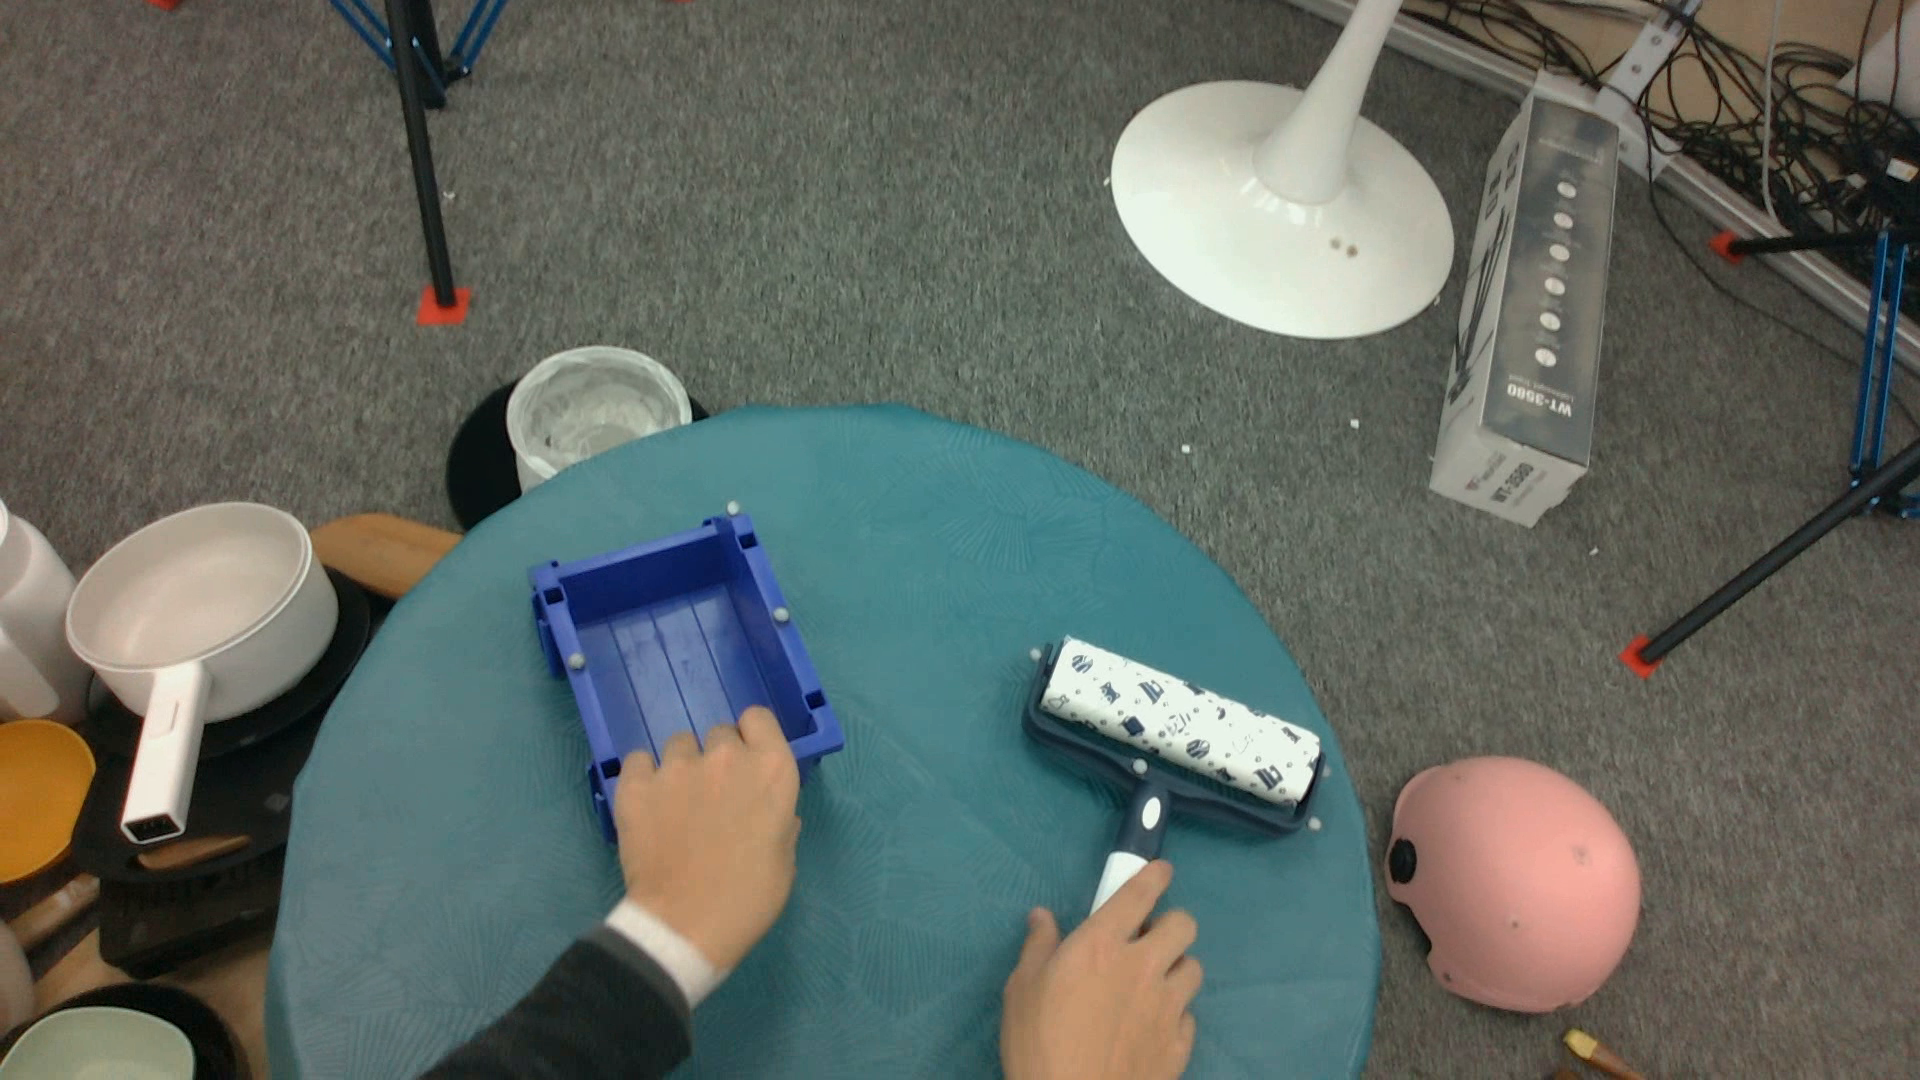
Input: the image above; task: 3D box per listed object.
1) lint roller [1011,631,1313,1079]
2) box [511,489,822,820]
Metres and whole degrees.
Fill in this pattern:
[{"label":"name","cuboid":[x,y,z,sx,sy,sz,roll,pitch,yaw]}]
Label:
[{"label":"lint roller","cuboid":[0.089,0.184,0.759,0.176,0.050,0.248,22,58,1]},{"label":"box","cuboid":[-0.168,0.057,0.761,0.125,0.081,0.180,-16,66,-20]}]
